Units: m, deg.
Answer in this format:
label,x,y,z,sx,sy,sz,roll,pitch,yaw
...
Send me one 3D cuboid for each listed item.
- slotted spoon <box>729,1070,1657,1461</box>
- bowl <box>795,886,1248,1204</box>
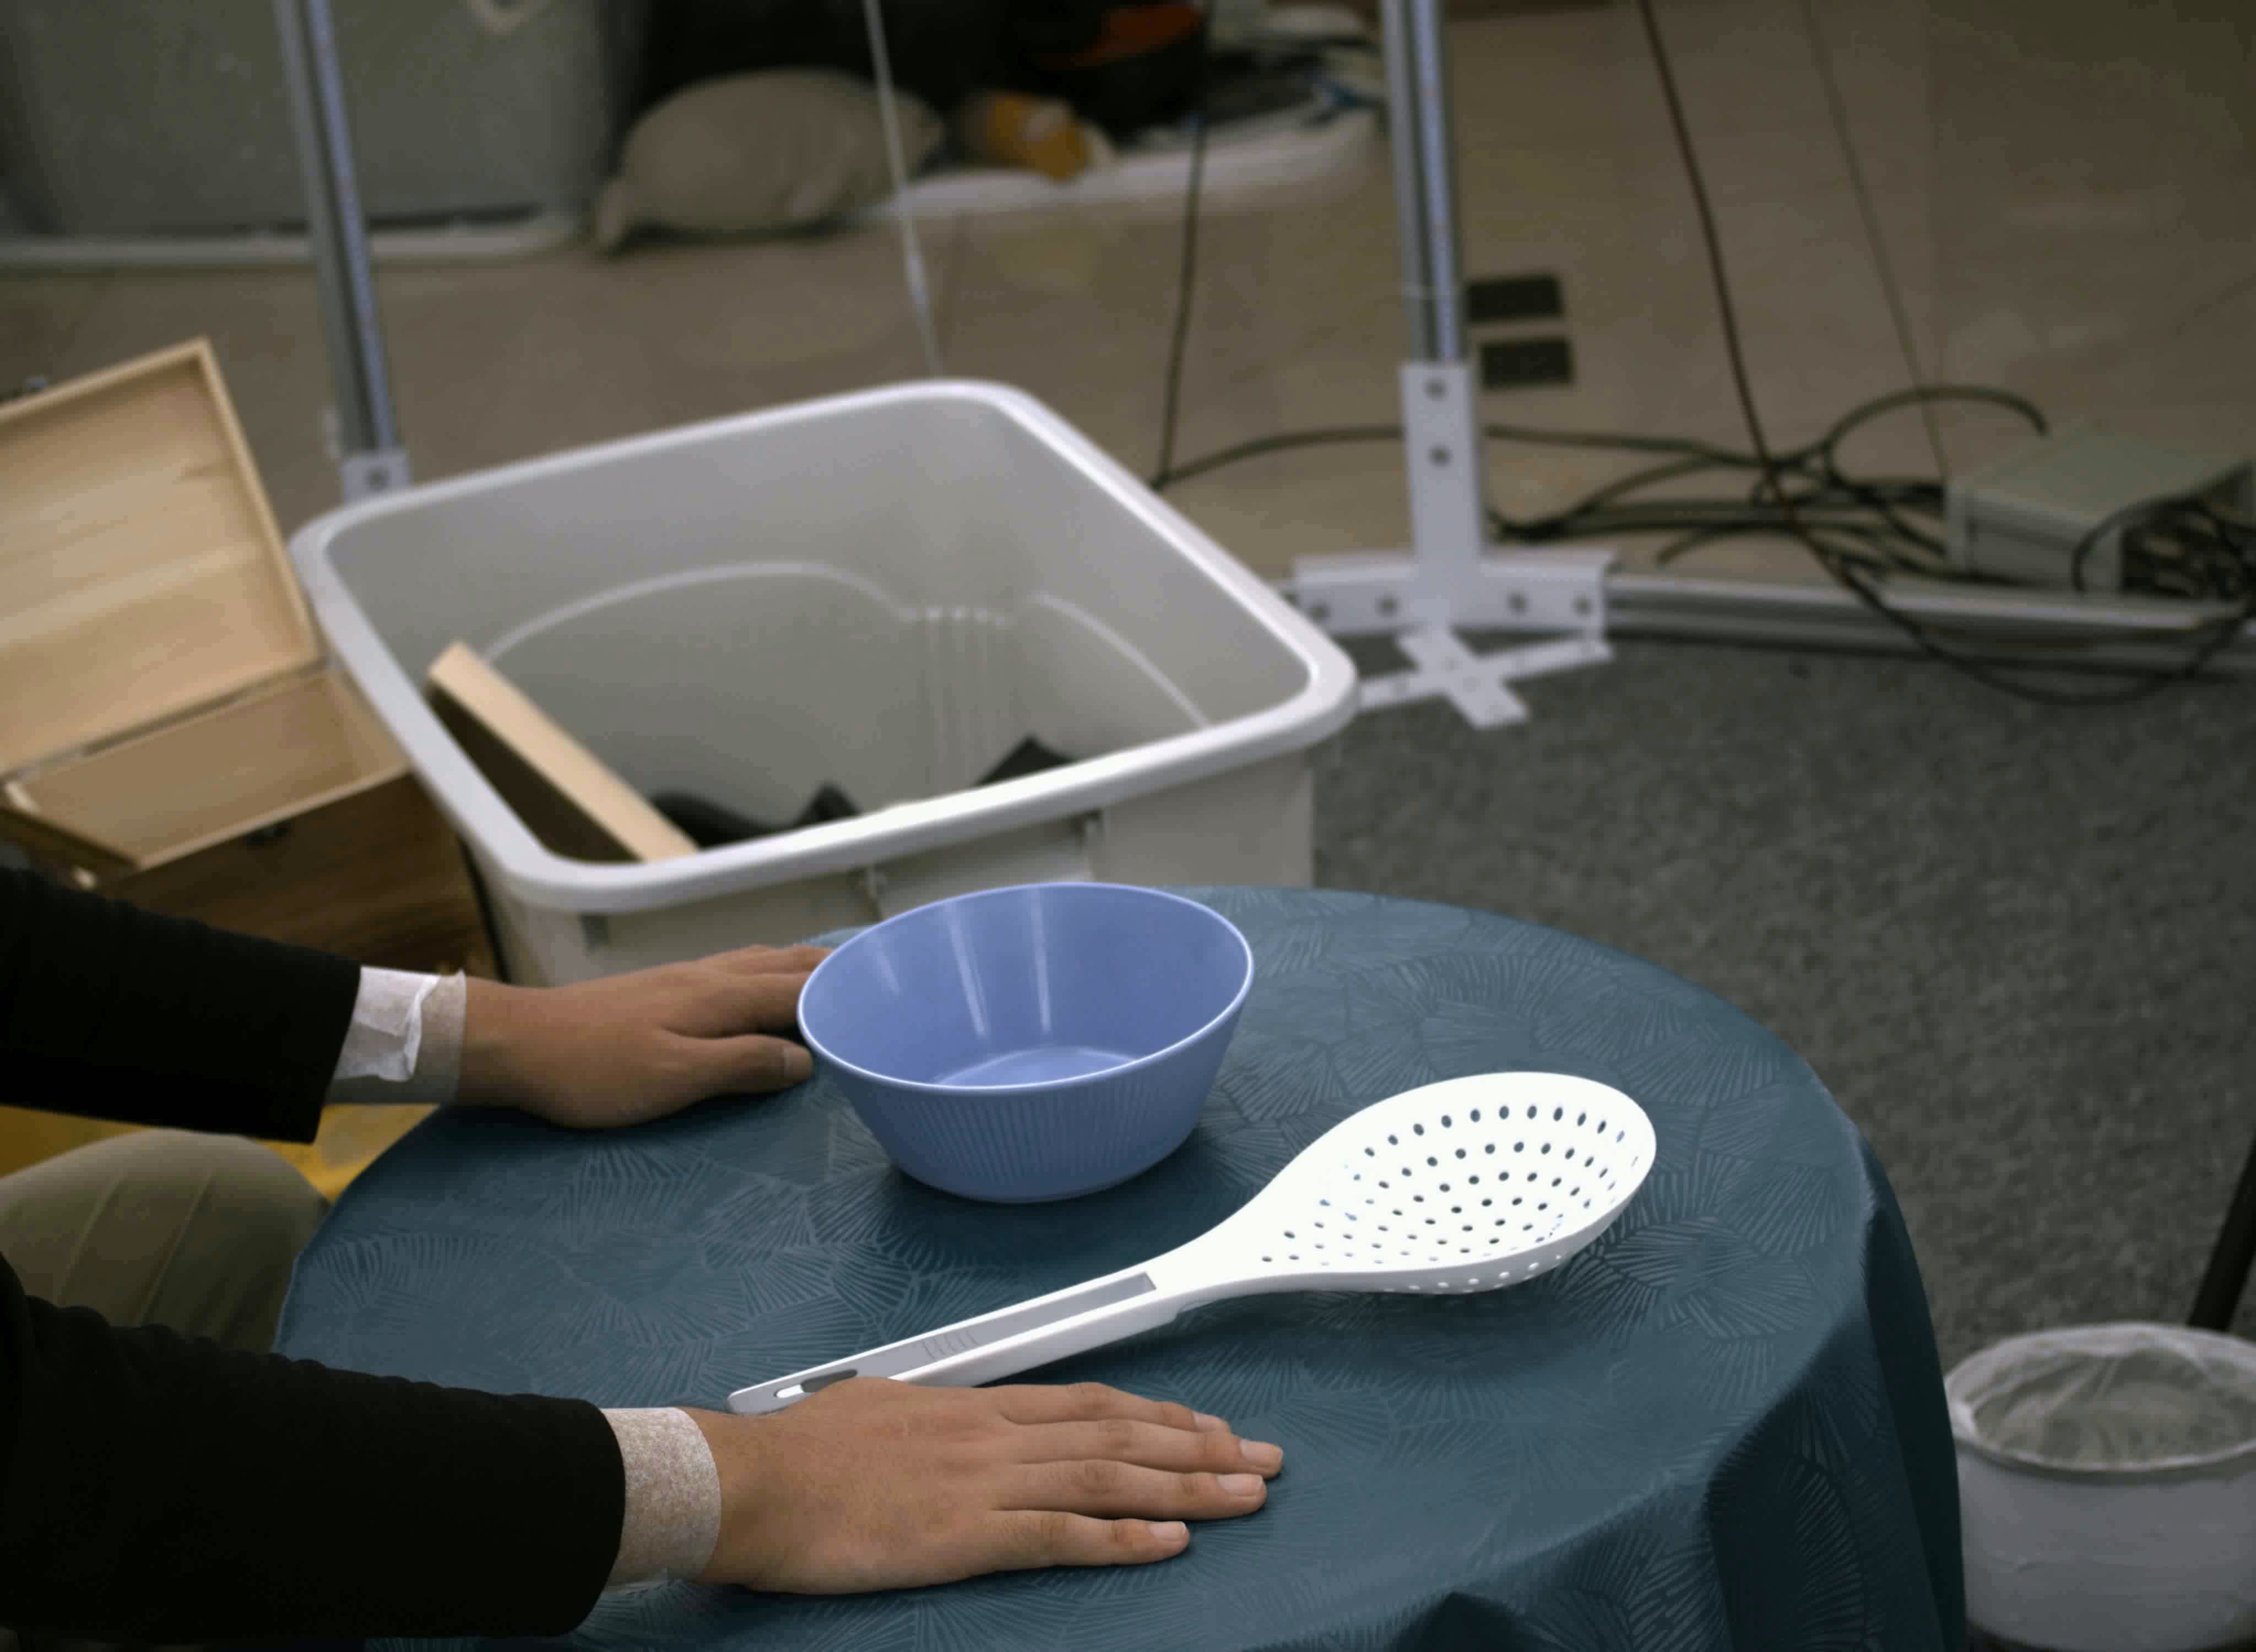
label,x,y,z,sx,sy,sz,roll,pitch,yaw
slotted spoon,0.025,0.162,2.037,0.348,0.046,0.134,-14,26,-13
bowl,-0.037,0.090,2.180,0.176,0.071,0.173,-6,25,3
